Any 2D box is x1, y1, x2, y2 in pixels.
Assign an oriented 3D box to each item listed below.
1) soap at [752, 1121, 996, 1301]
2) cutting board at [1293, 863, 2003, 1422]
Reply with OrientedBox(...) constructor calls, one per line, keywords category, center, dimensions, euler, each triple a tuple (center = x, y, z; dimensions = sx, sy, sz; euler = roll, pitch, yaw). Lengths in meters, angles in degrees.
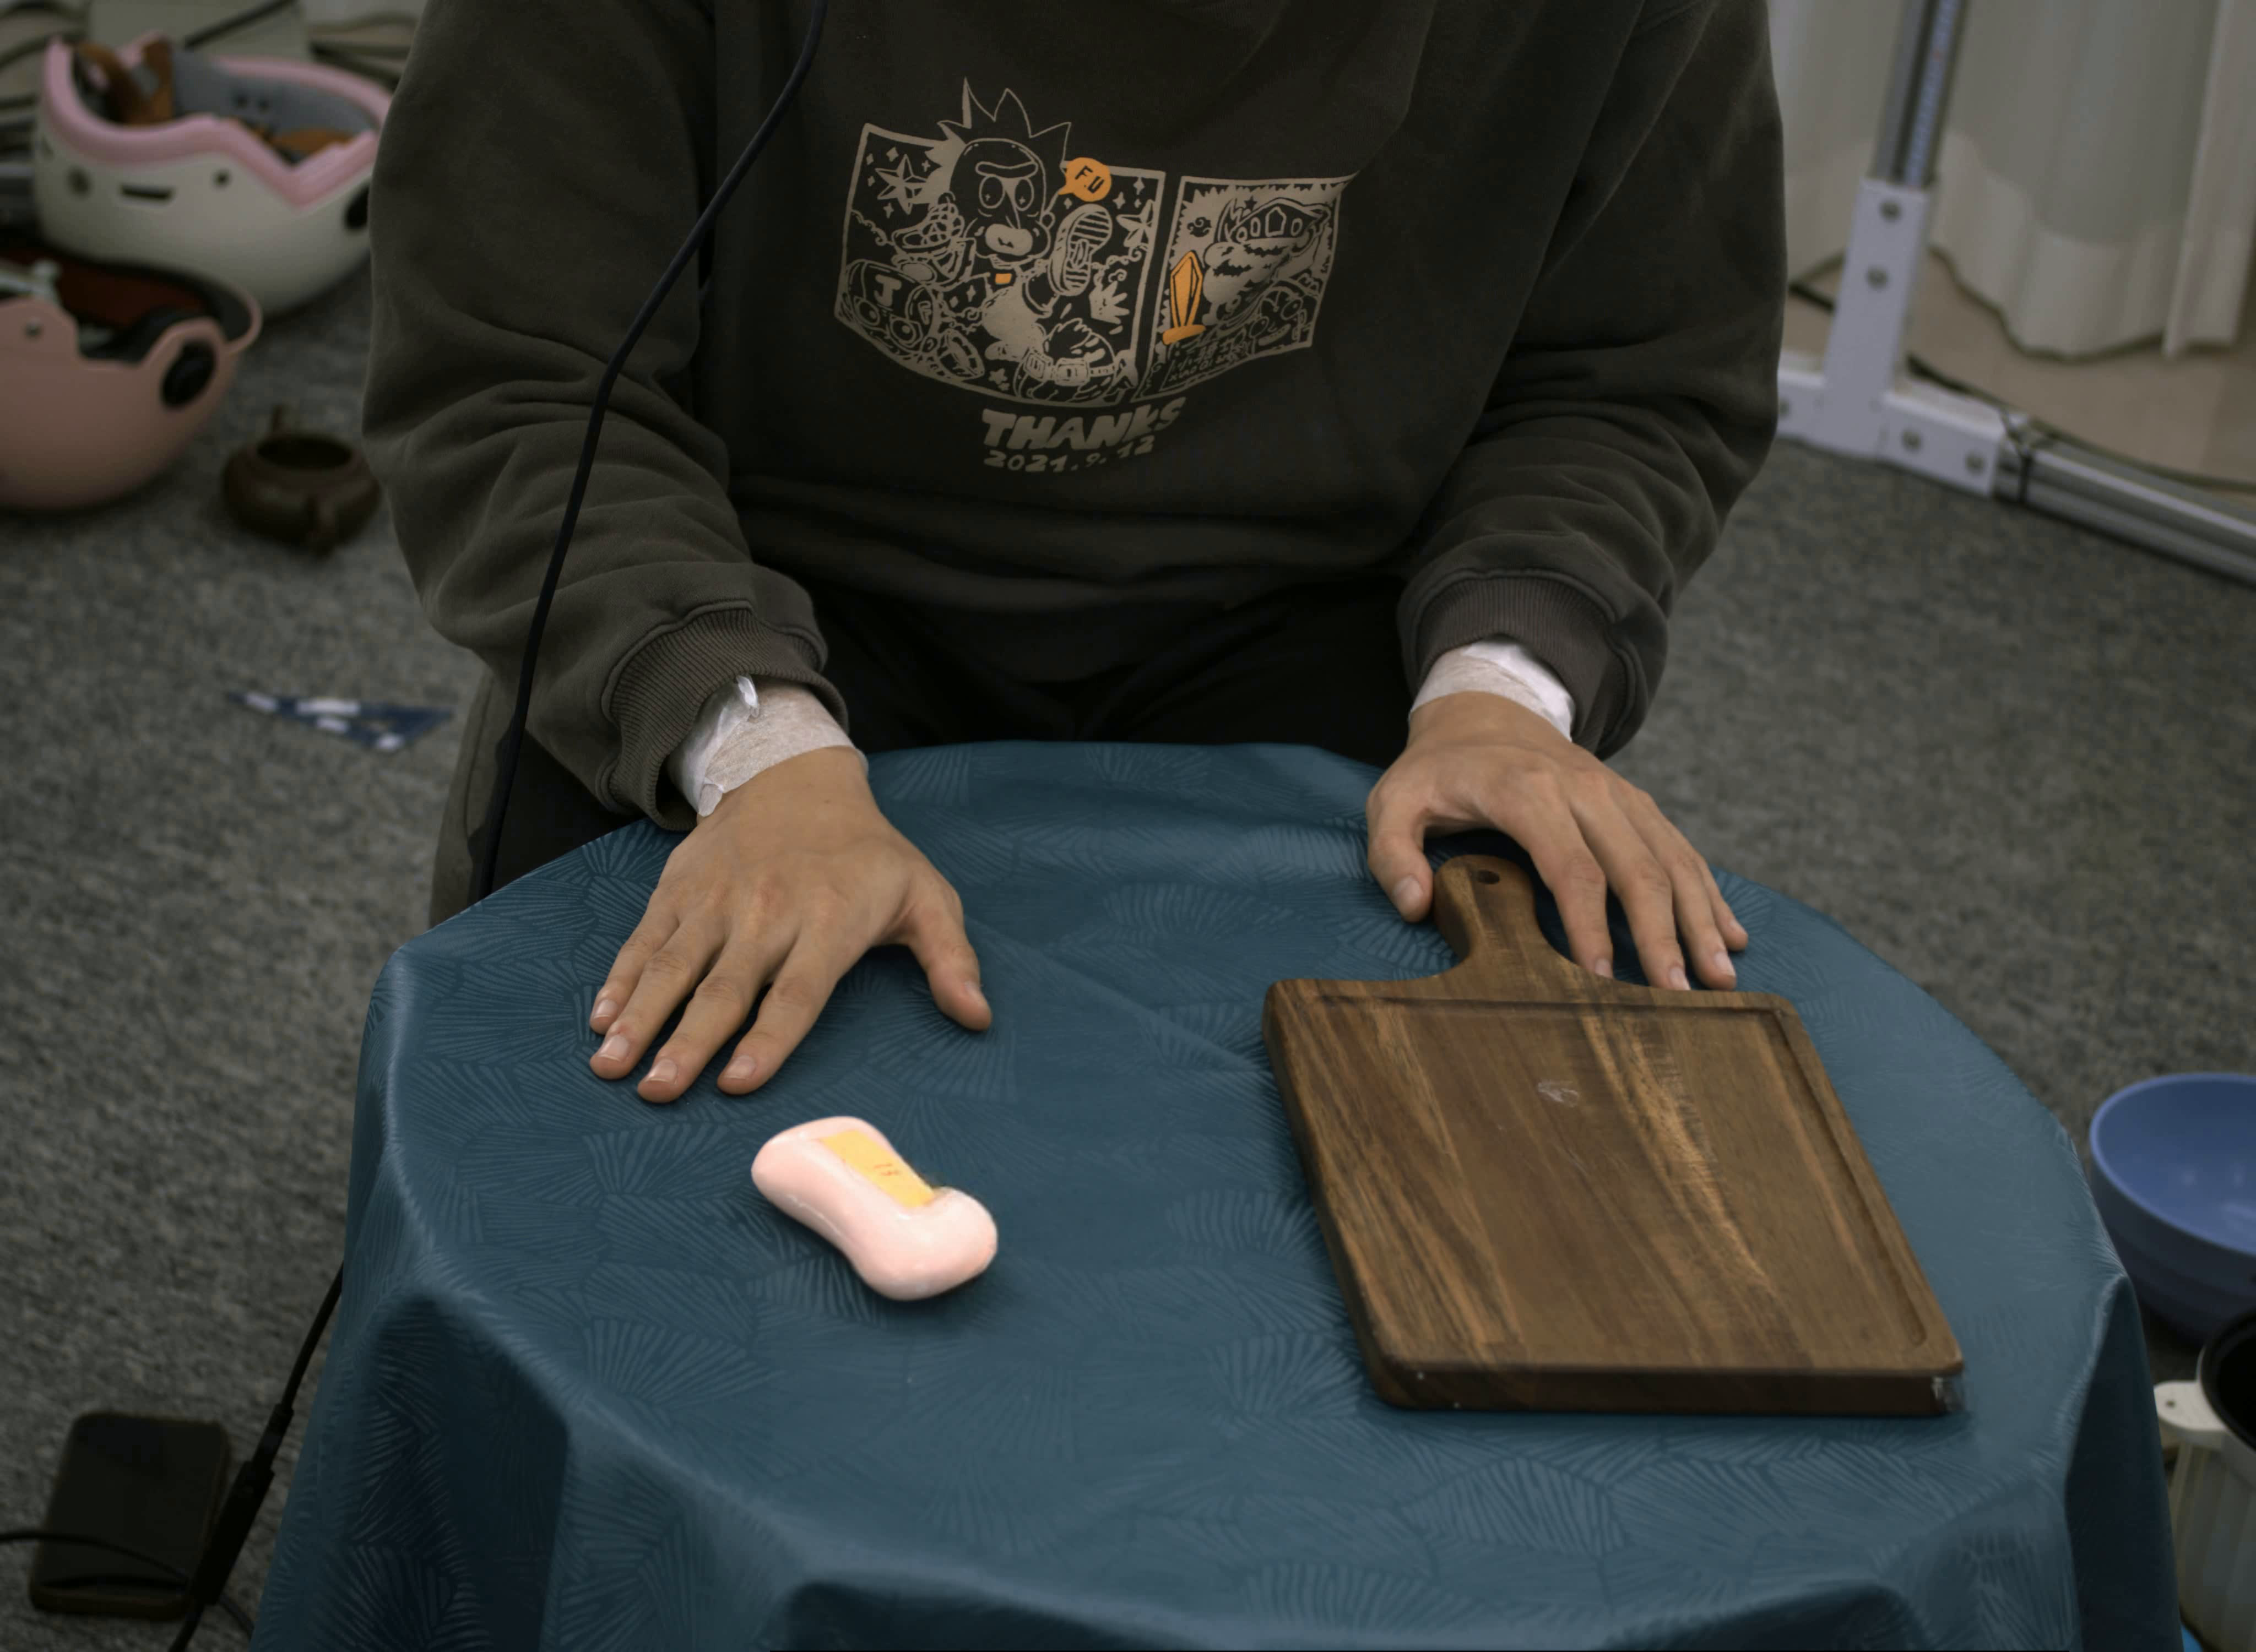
OrientedBox(category="soap", center=(-0.084, 0.126, 1.749), dimensions=(0.050, 0.030, 0.095), euler=(-12, 30, -34))
OrientedBox(category="cutting board", center=(0.166, 0.103, 1.859), dimensions=(0.200, 0.023, 0.355), euler=(2, 27, -8))
